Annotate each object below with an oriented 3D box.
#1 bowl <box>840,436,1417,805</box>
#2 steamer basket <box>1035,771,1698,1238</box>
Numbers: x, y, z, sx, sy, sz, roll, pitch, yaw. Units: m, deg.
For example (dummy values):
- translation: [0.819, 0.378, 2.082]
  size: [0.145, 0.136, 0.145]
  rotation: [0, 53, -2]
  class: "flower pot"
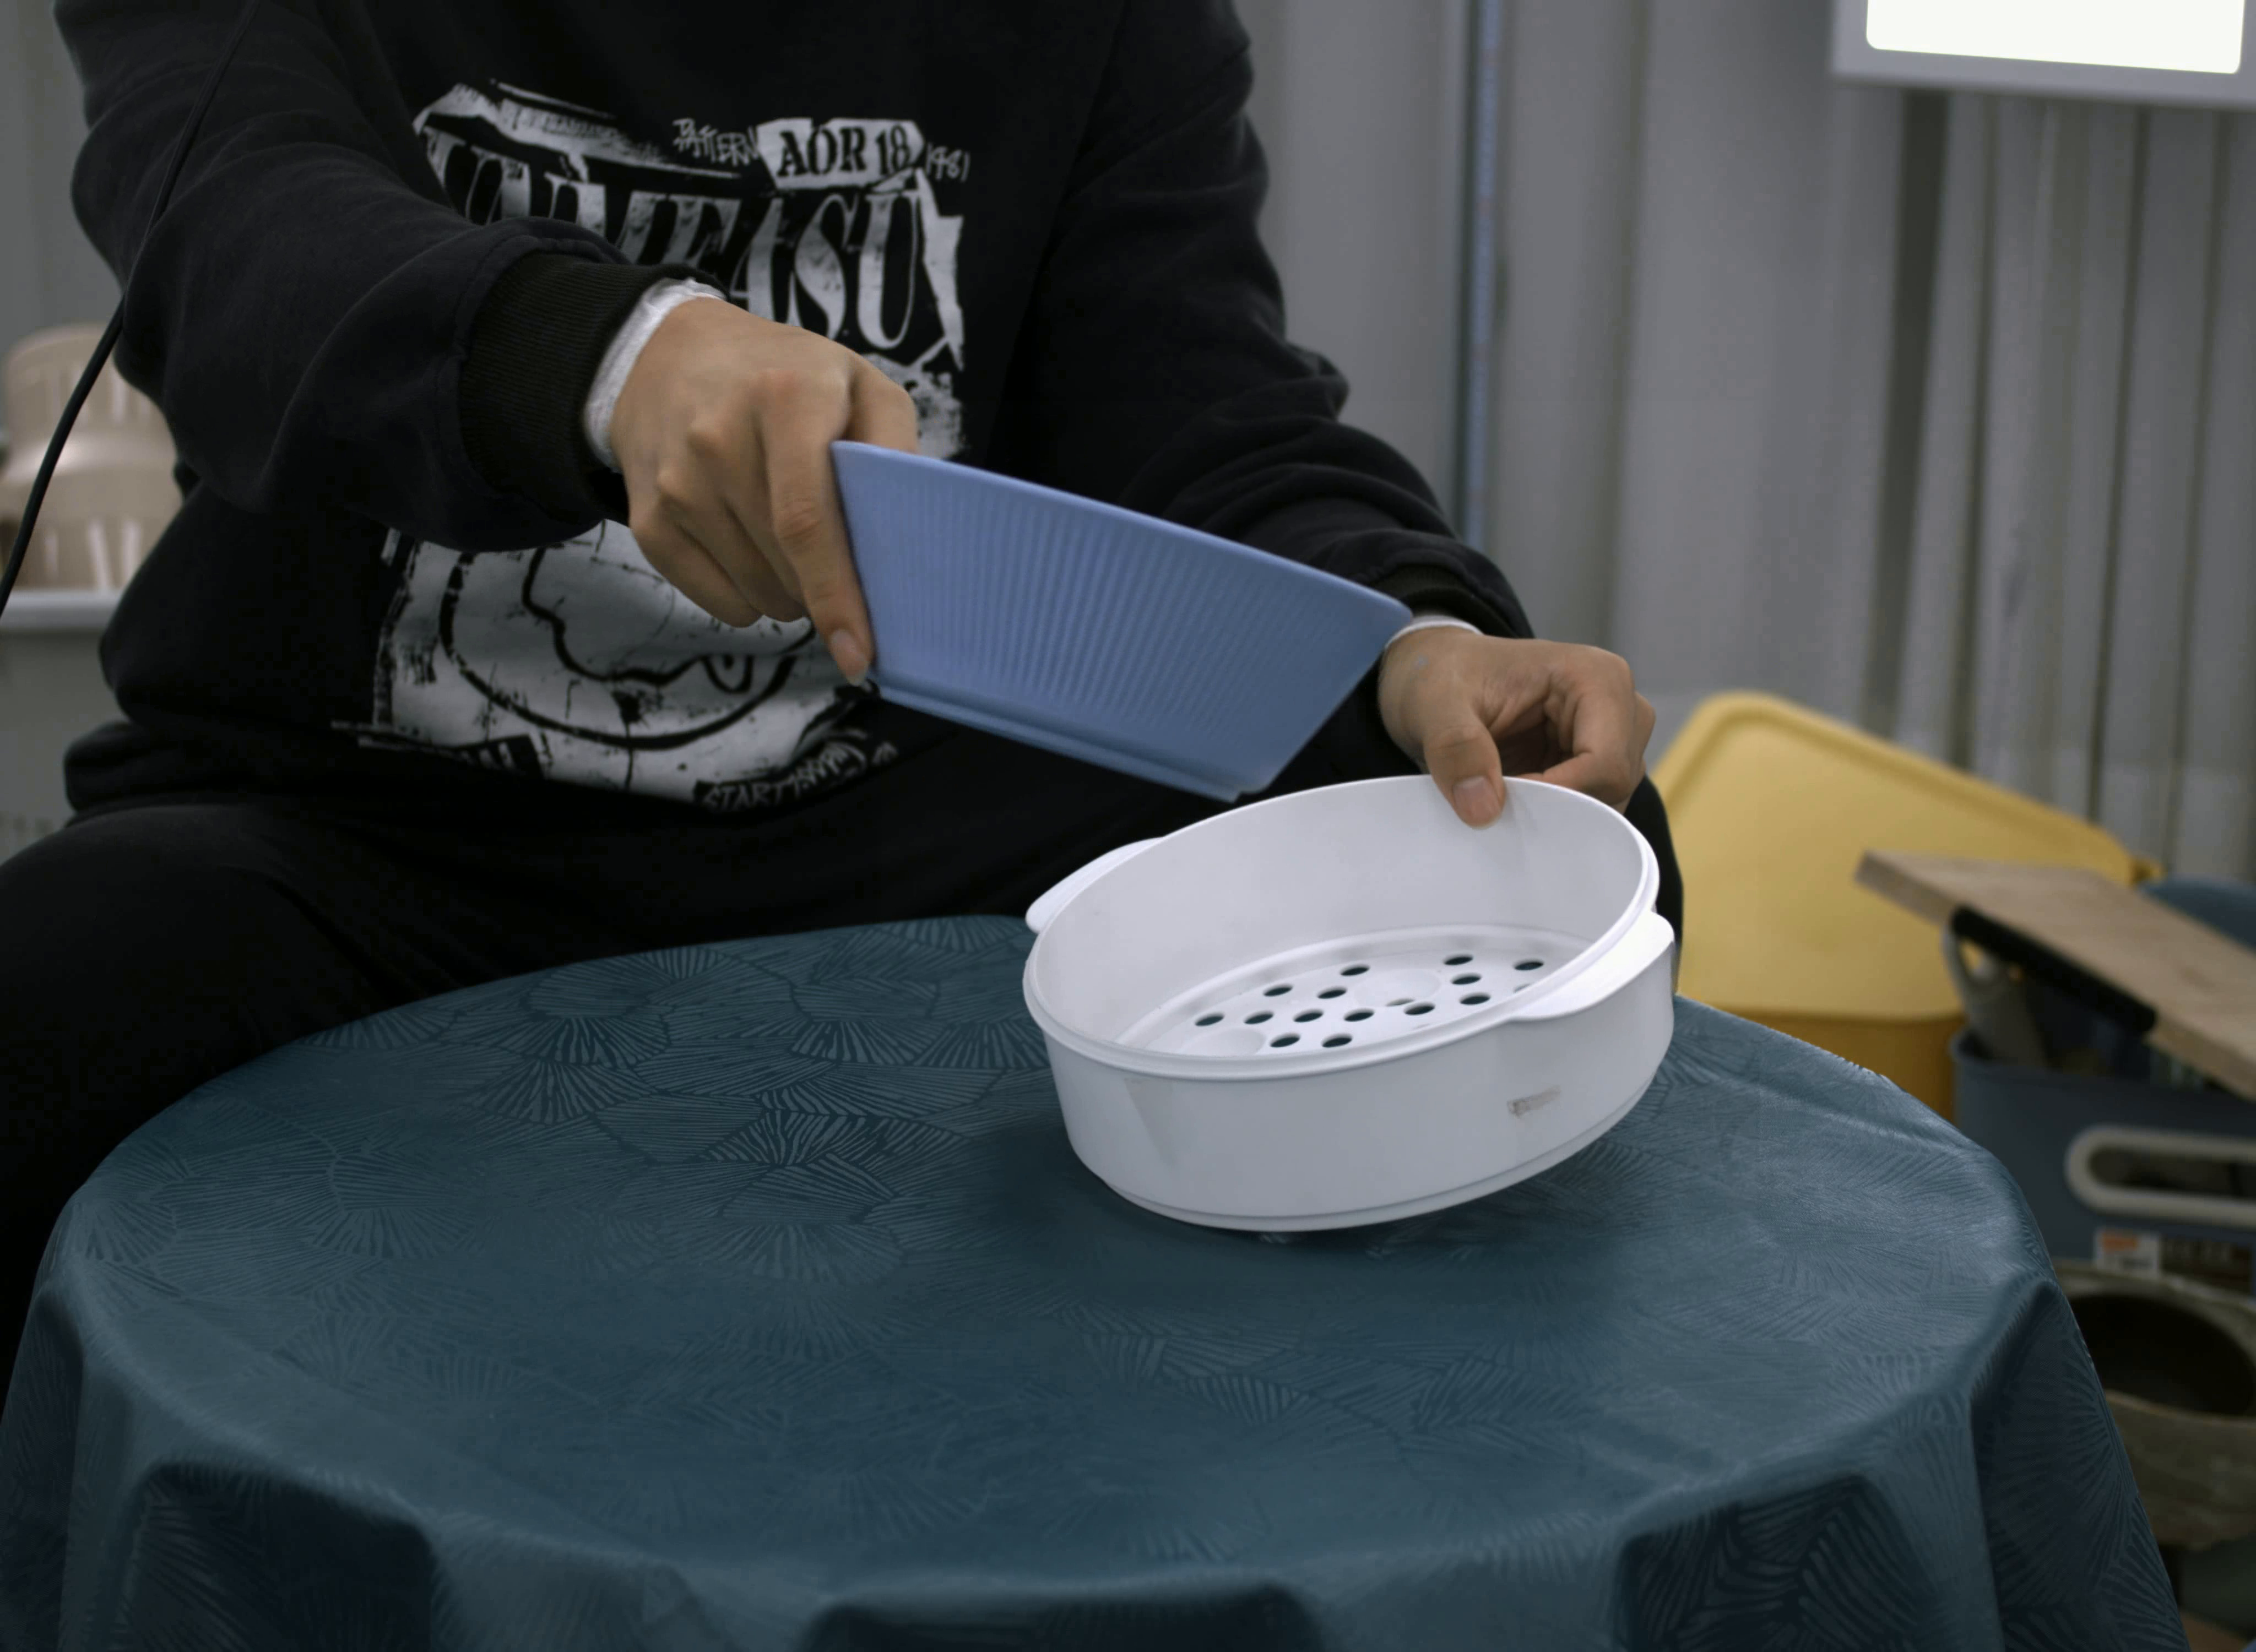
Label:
- translation: [-0.009, -0.054, 1.520]
  size: [0.175, 0.070, 0.176]
  rotation: [18, -2, 1]
  class: "bowl"
- translation: [0.075, 0.055, 1.641]
  size: [0.227, 0.070, 0.202]
  rotation: [12, 33, 38]
  class: "steamer basket"
